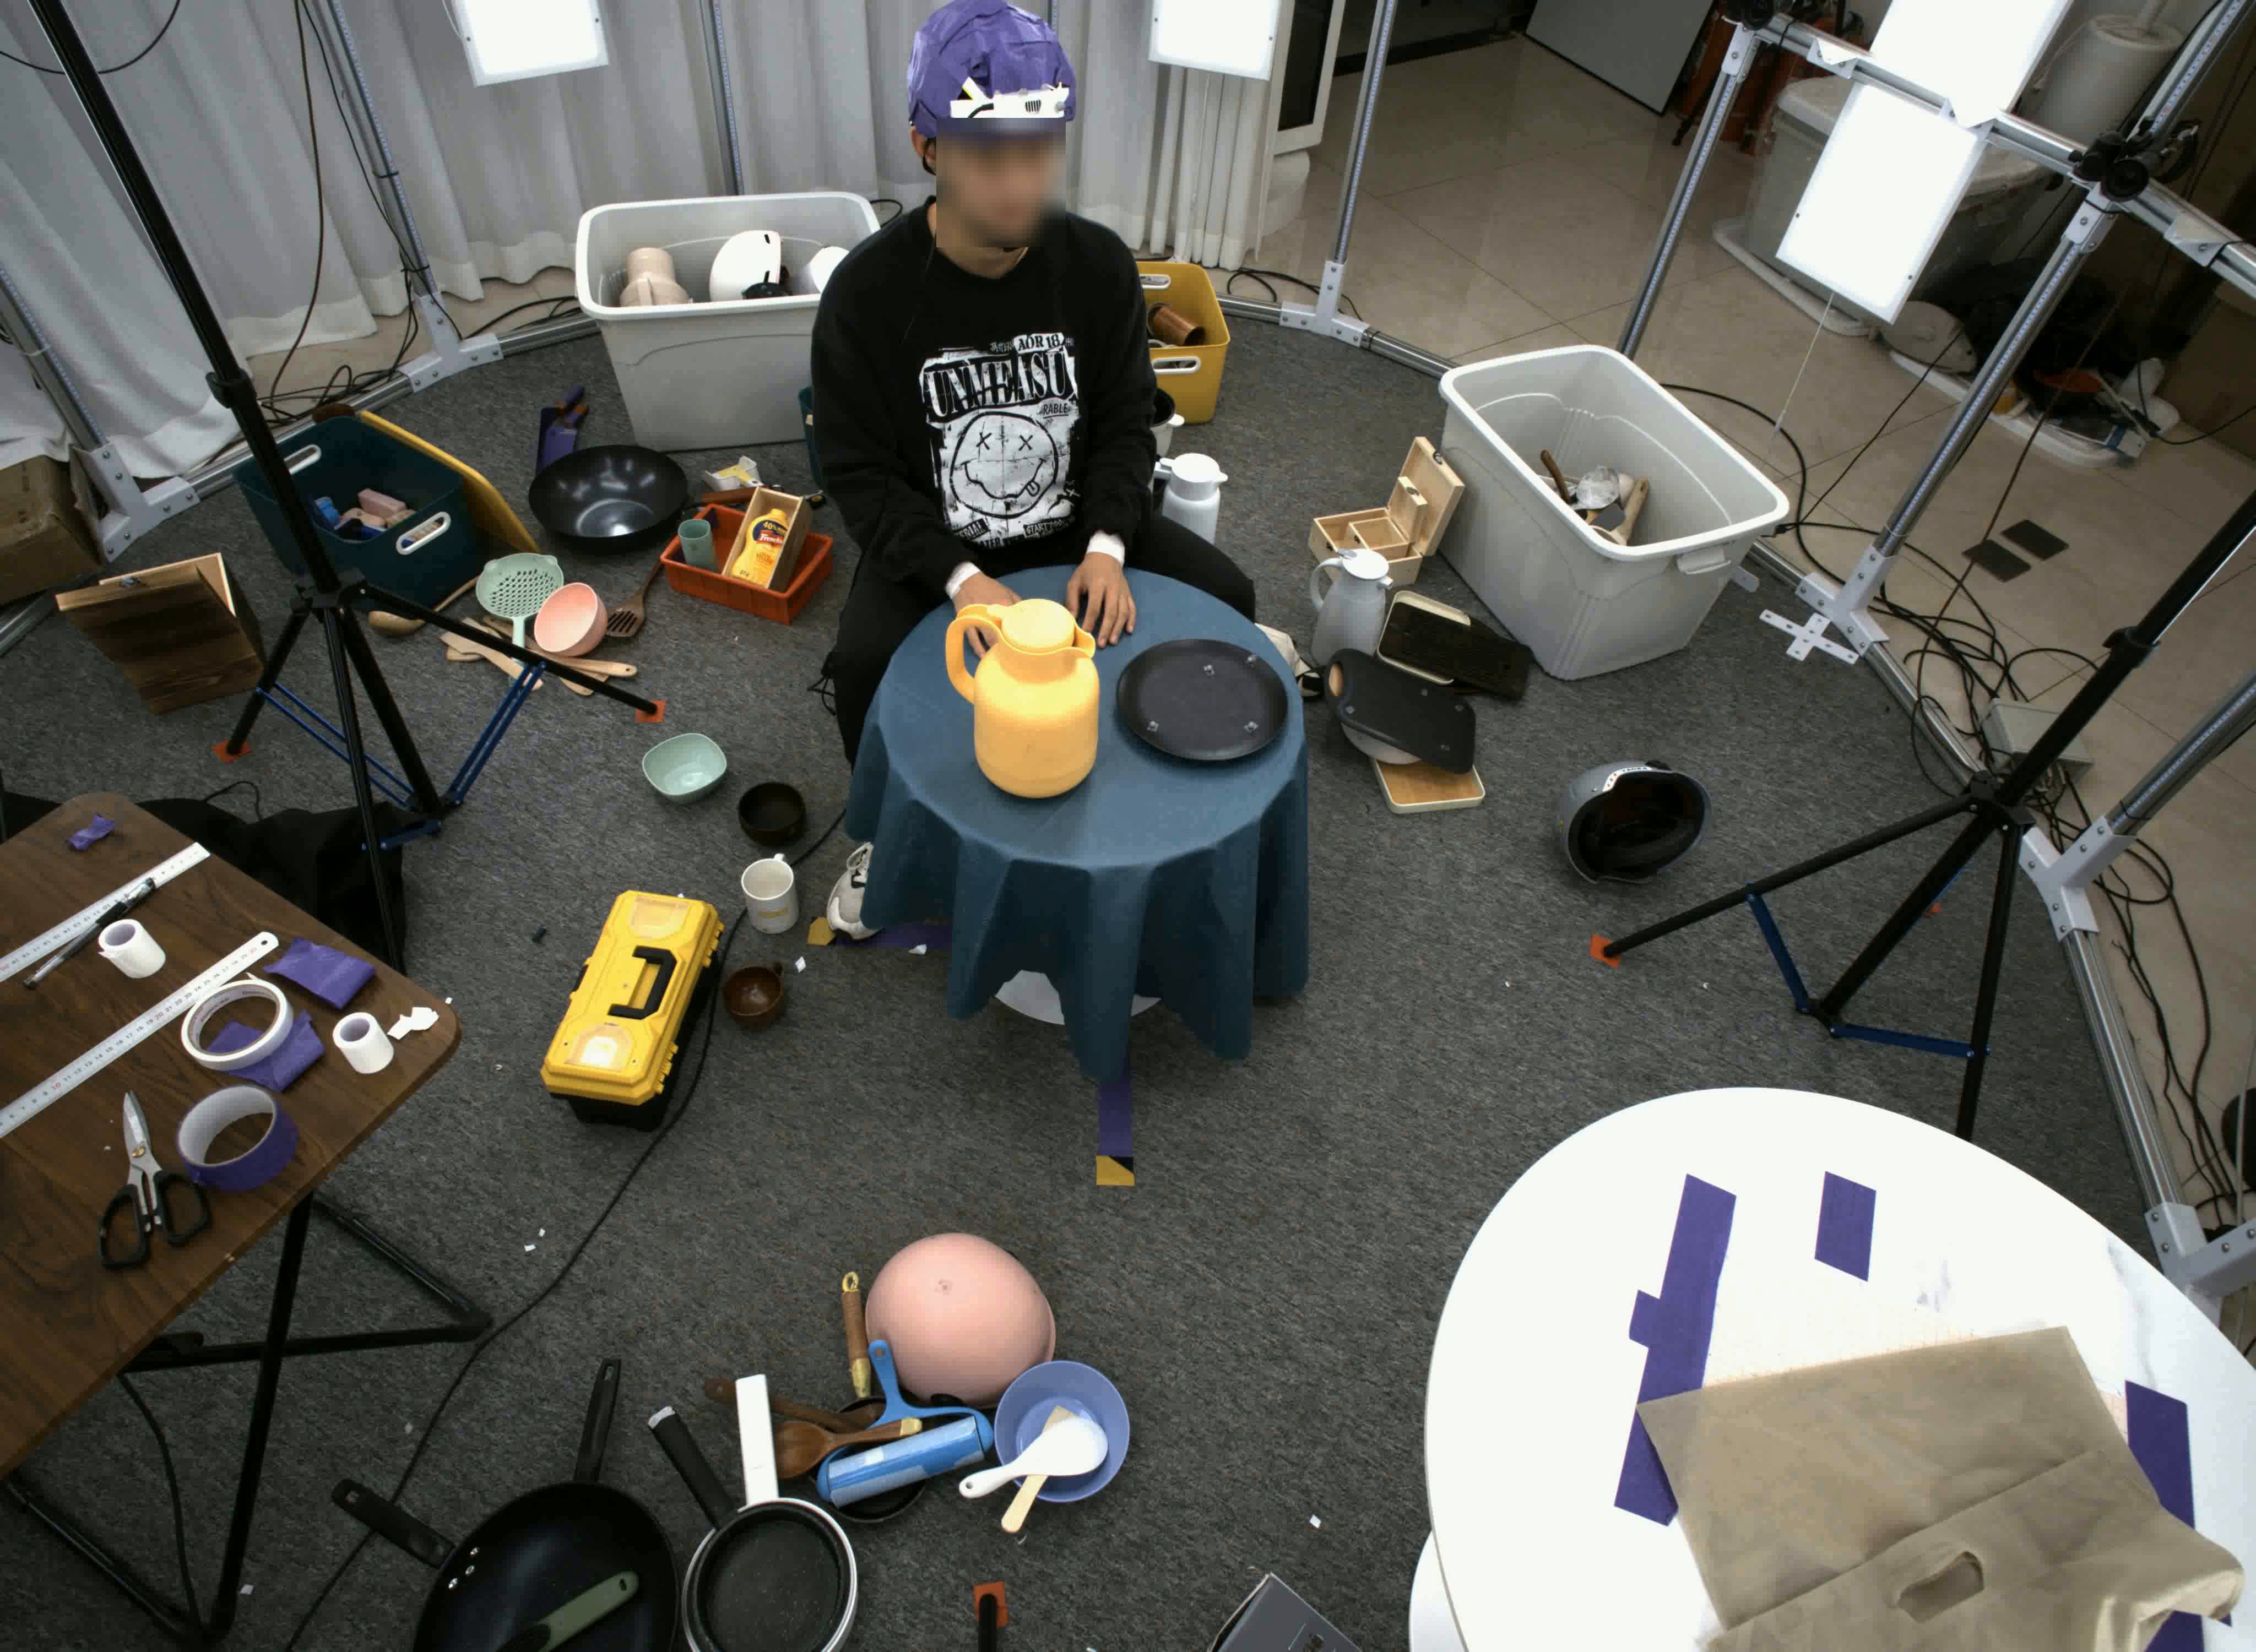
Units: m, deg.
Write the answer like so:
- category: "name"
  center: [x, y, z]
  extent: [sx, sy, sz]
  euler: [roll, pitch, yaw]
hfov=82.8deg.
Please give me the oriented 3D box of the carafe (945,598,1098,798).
- category: "carafe"
  center: [-0.137, -0.176, 1.643]
  extent: [0.203, 0.254, 0.166]
  euler: [22, 49, 12]

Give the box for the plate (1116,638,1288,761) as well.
- category: "plate"
  center: [0.104, -0.176, 1.813]
  extent: [0.244, 0.023, 0.250]
  euler: [2, 49, -2]
